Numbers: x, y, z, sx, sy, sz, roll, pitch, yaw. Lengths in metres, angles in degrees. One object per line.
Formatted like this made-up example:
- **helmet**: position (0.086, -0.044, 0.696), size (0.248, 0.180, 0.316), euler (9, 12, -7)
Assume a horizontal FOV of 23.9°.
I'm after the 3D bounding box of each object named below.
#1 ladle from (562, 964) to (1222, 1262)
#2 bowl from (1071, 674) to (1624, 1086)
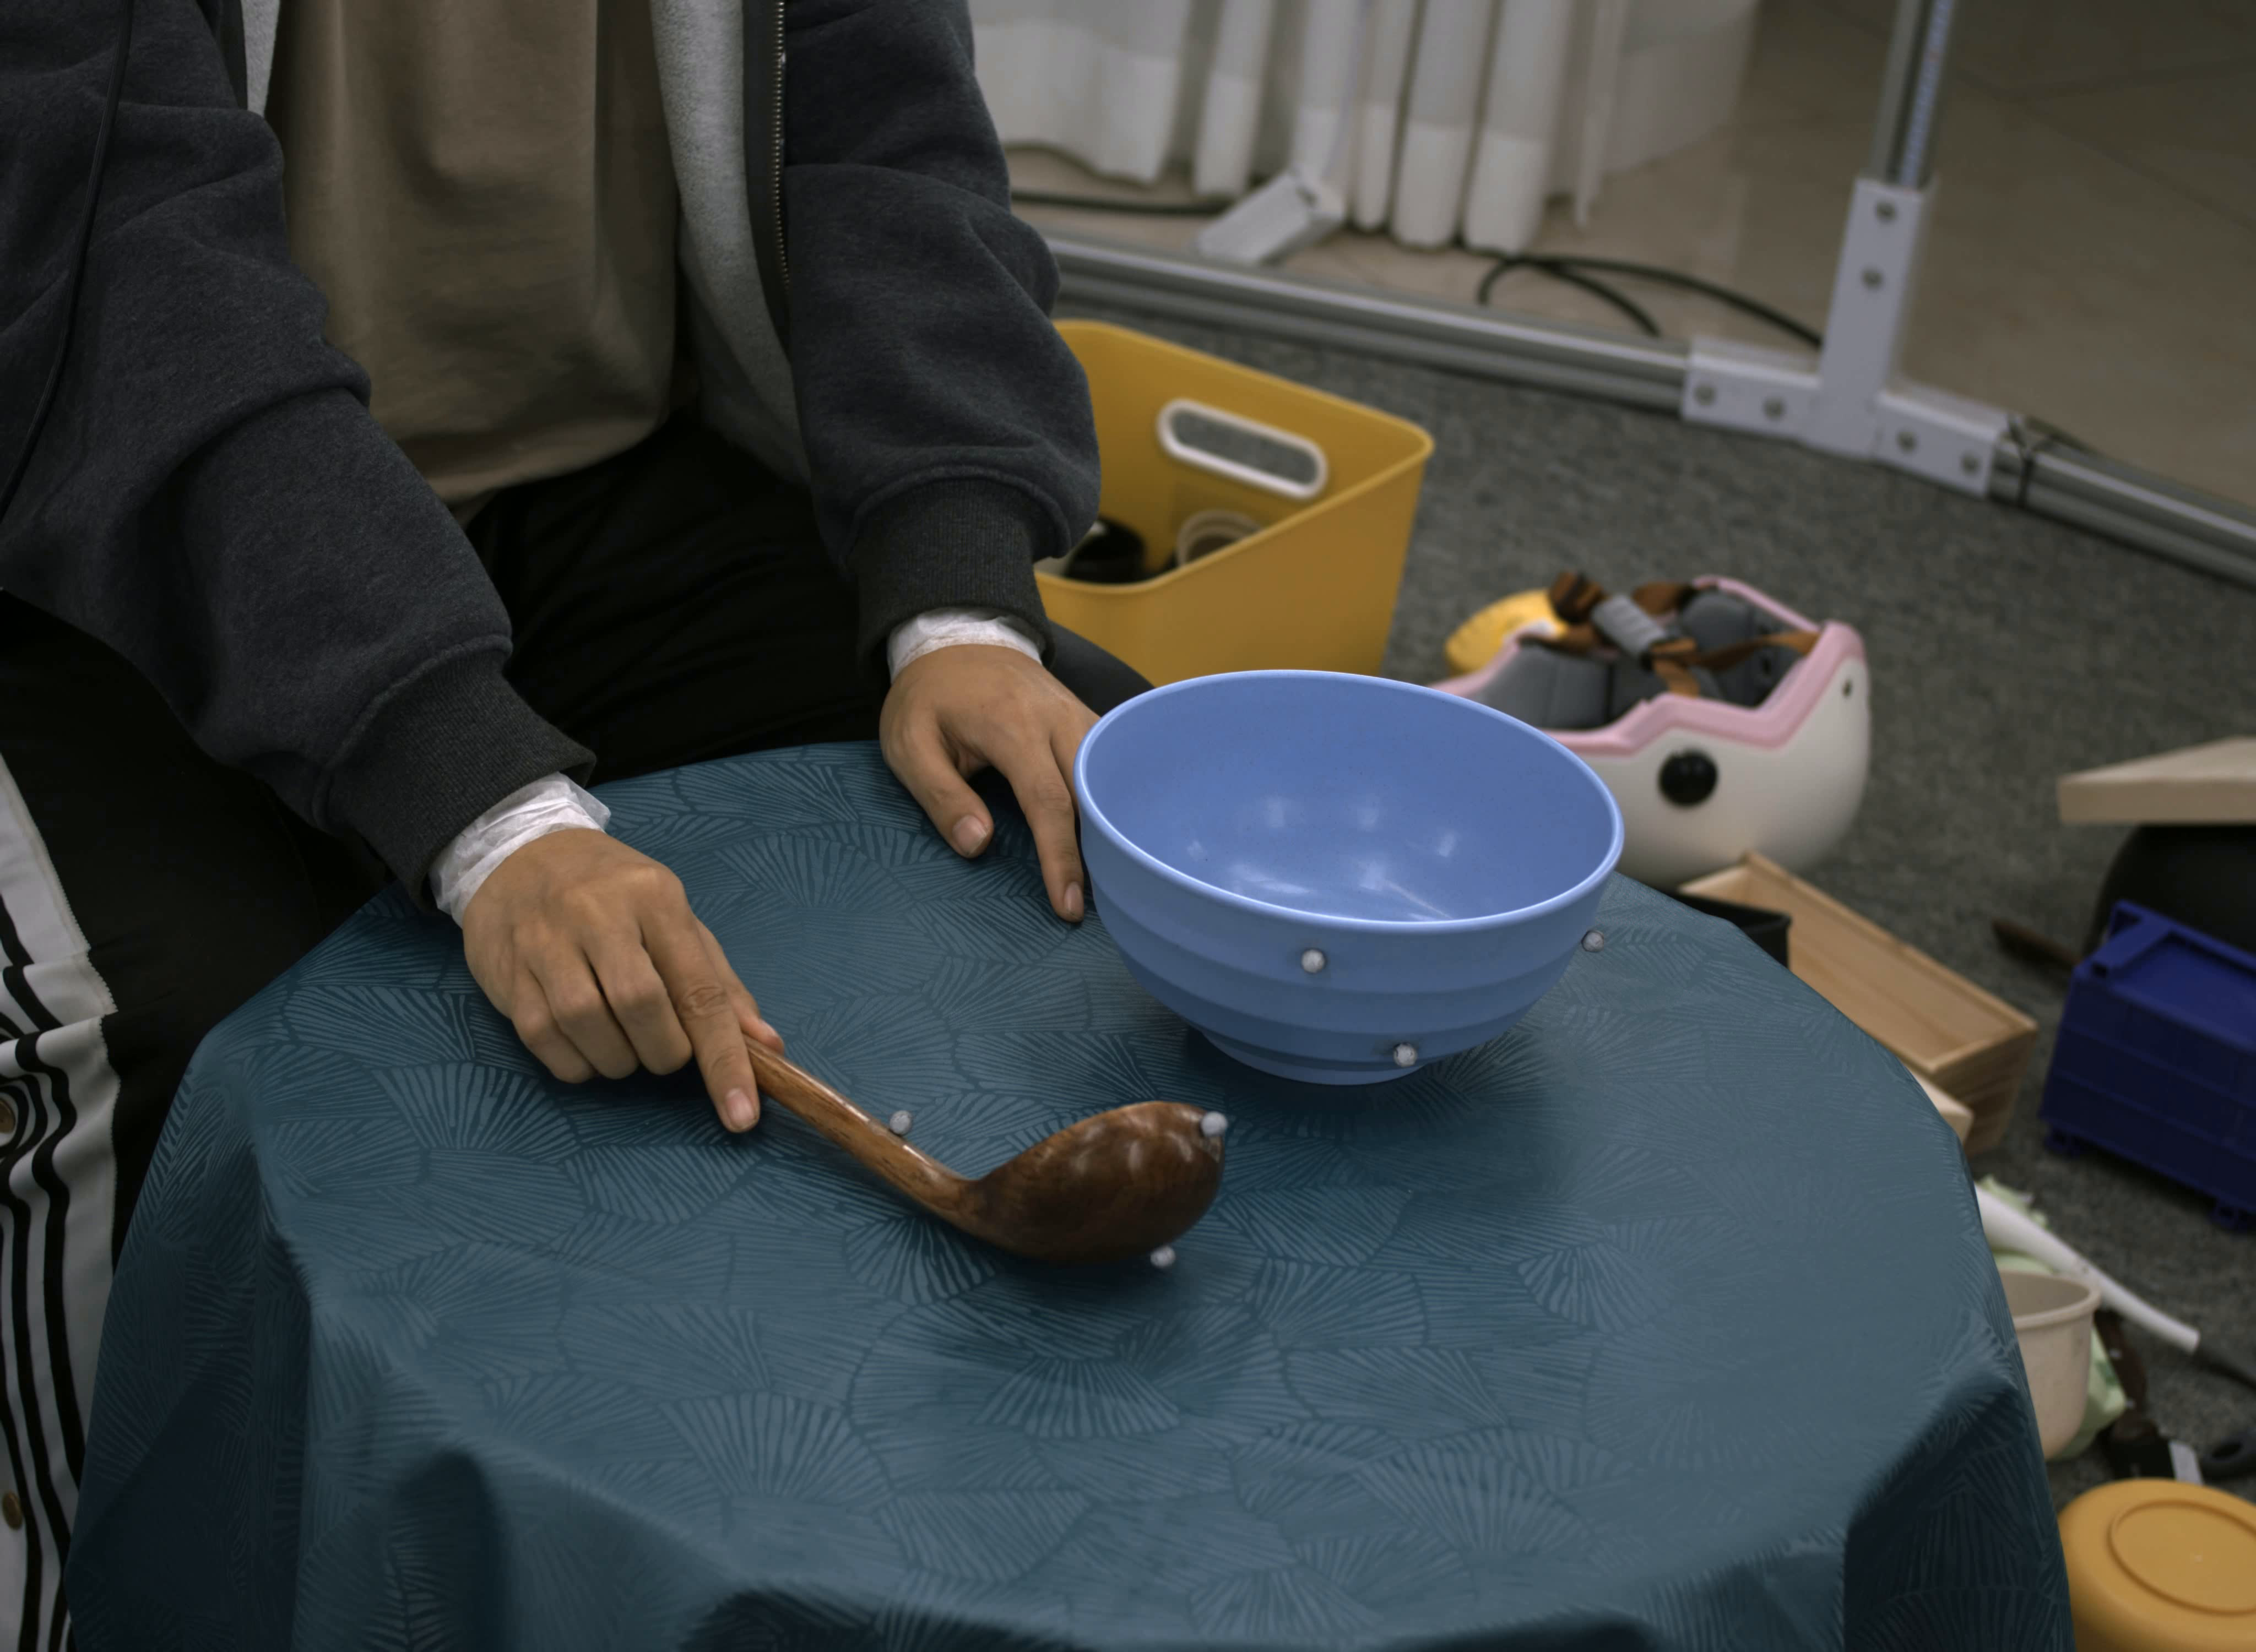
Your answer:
- **ladle**: position (-0.084, 0.075, 1.797), size (0.276, 0.077, 0.081), euler (28, -2, 37)
- **bowl**: position (0.073, 0.030, 1.899), size (0.196, 0.095, 0.197), euler (4, 27, -3)
